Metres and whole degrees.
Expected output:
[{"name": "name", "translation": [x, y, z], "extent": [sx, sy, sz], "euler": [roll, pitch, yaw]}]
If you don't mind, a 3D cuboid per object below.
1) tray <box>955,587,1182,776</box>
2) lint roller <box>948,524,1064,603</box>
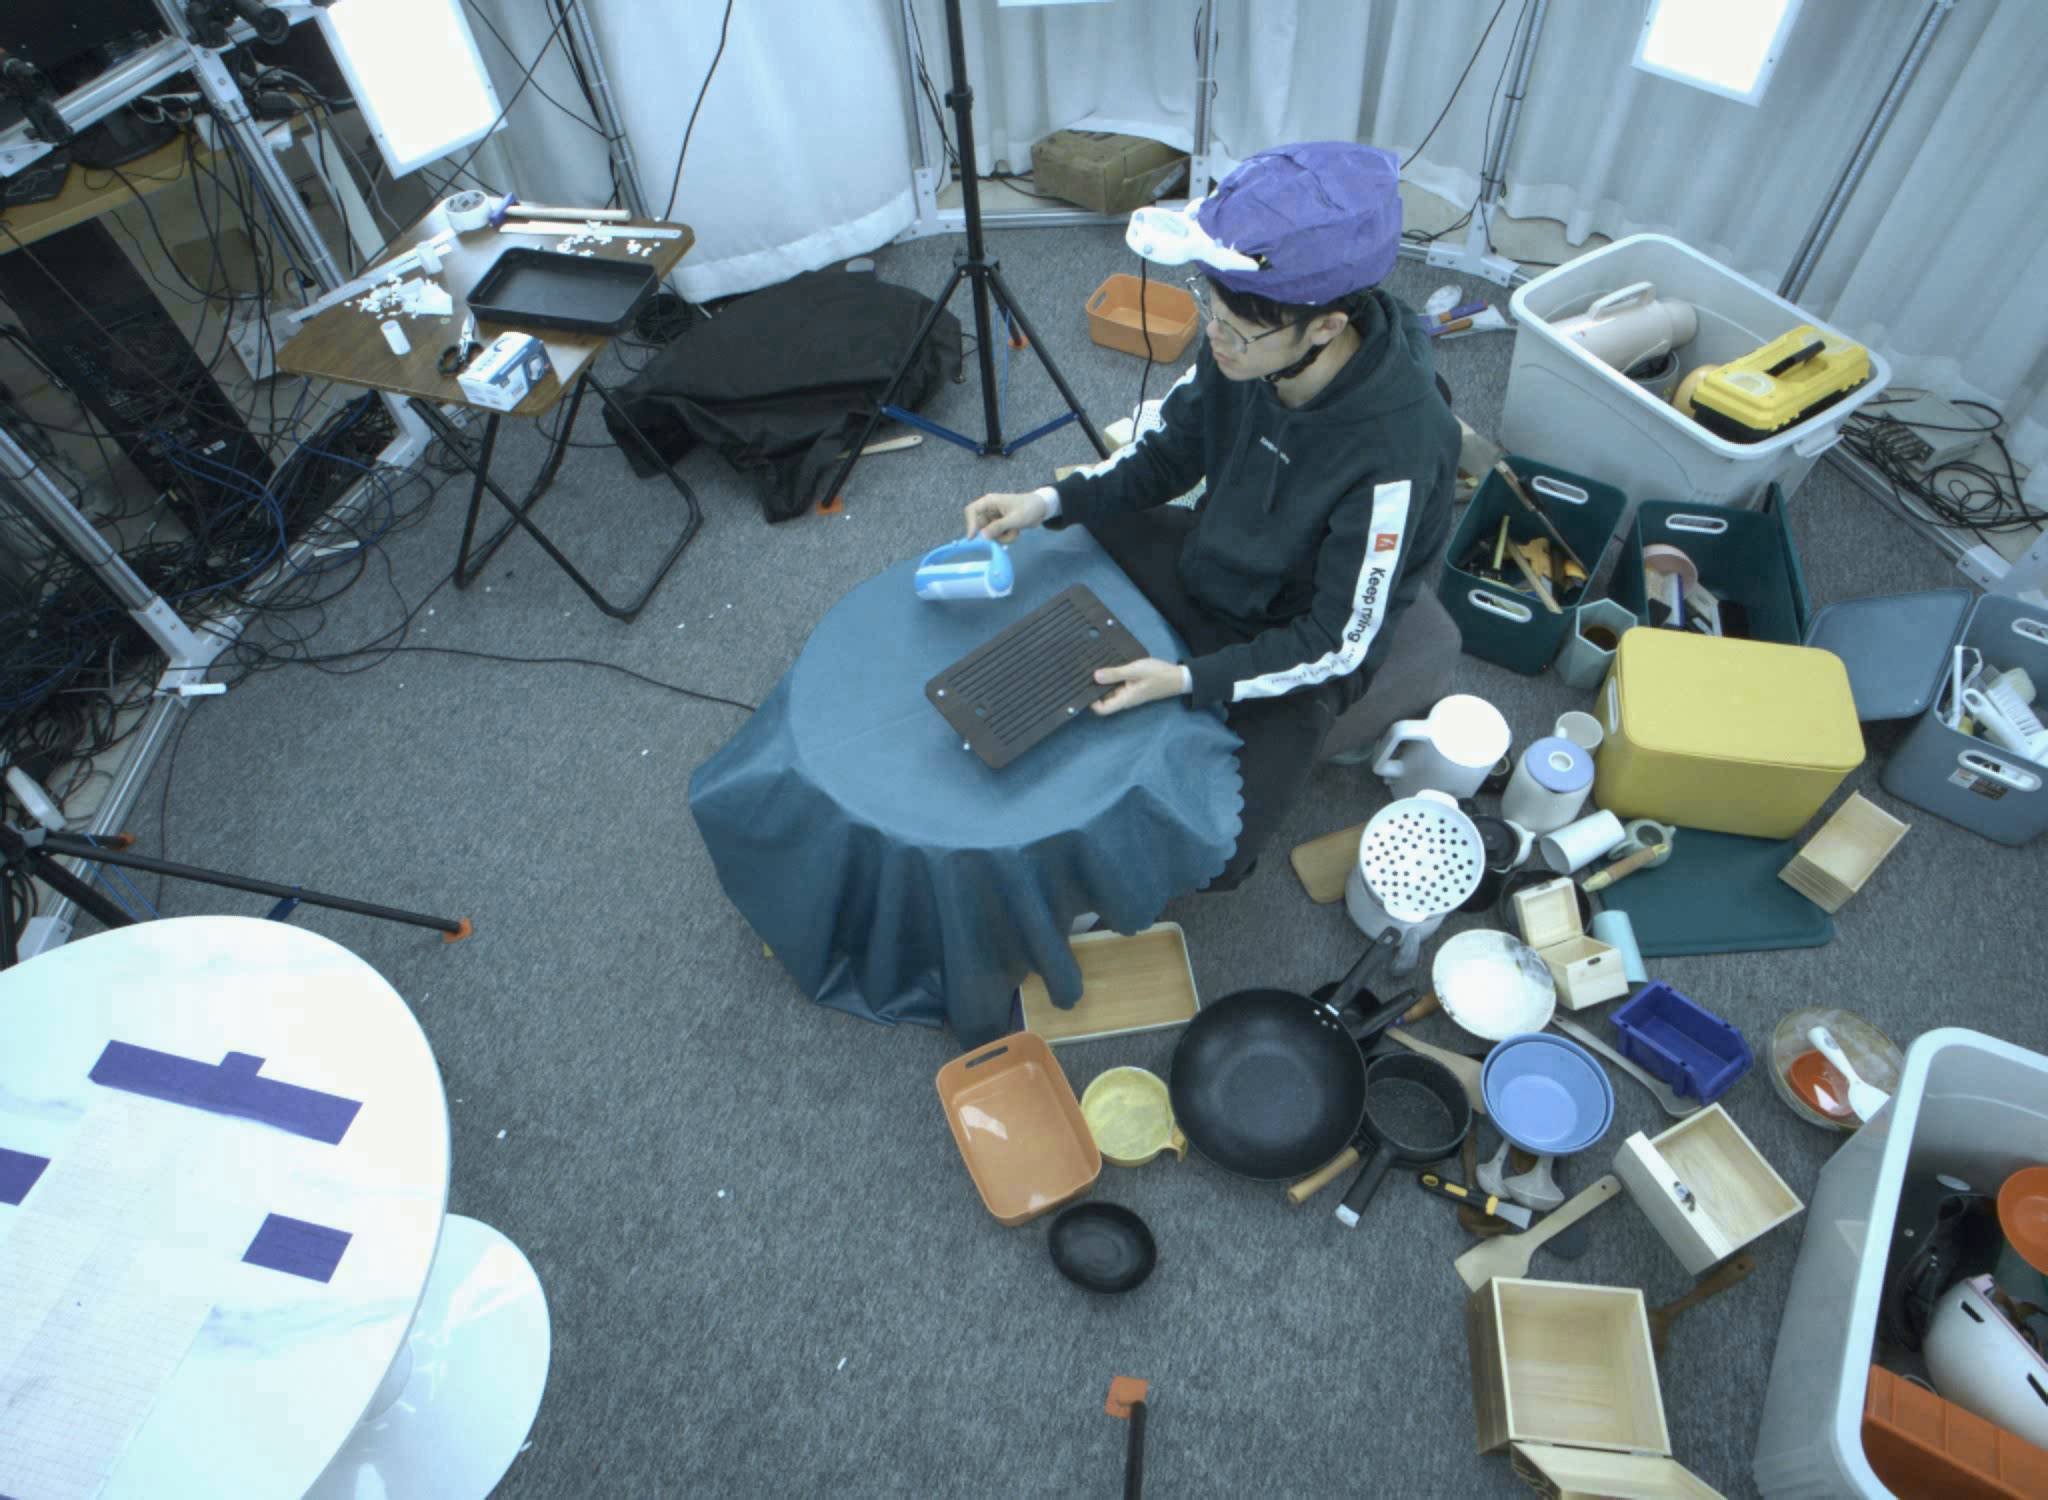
[{"name": "tray", "translation": [0.066, -0.102, 1.772], "extent": [0.308, 0.018, 0.168], "euler": [-34, 75, -20]}, {"name": "lint roller", "translation": [-0.011, -0.299, 1.876], "extent": [0.224, 0.069, 0.180], "euler": [1, 50, 53]}]
